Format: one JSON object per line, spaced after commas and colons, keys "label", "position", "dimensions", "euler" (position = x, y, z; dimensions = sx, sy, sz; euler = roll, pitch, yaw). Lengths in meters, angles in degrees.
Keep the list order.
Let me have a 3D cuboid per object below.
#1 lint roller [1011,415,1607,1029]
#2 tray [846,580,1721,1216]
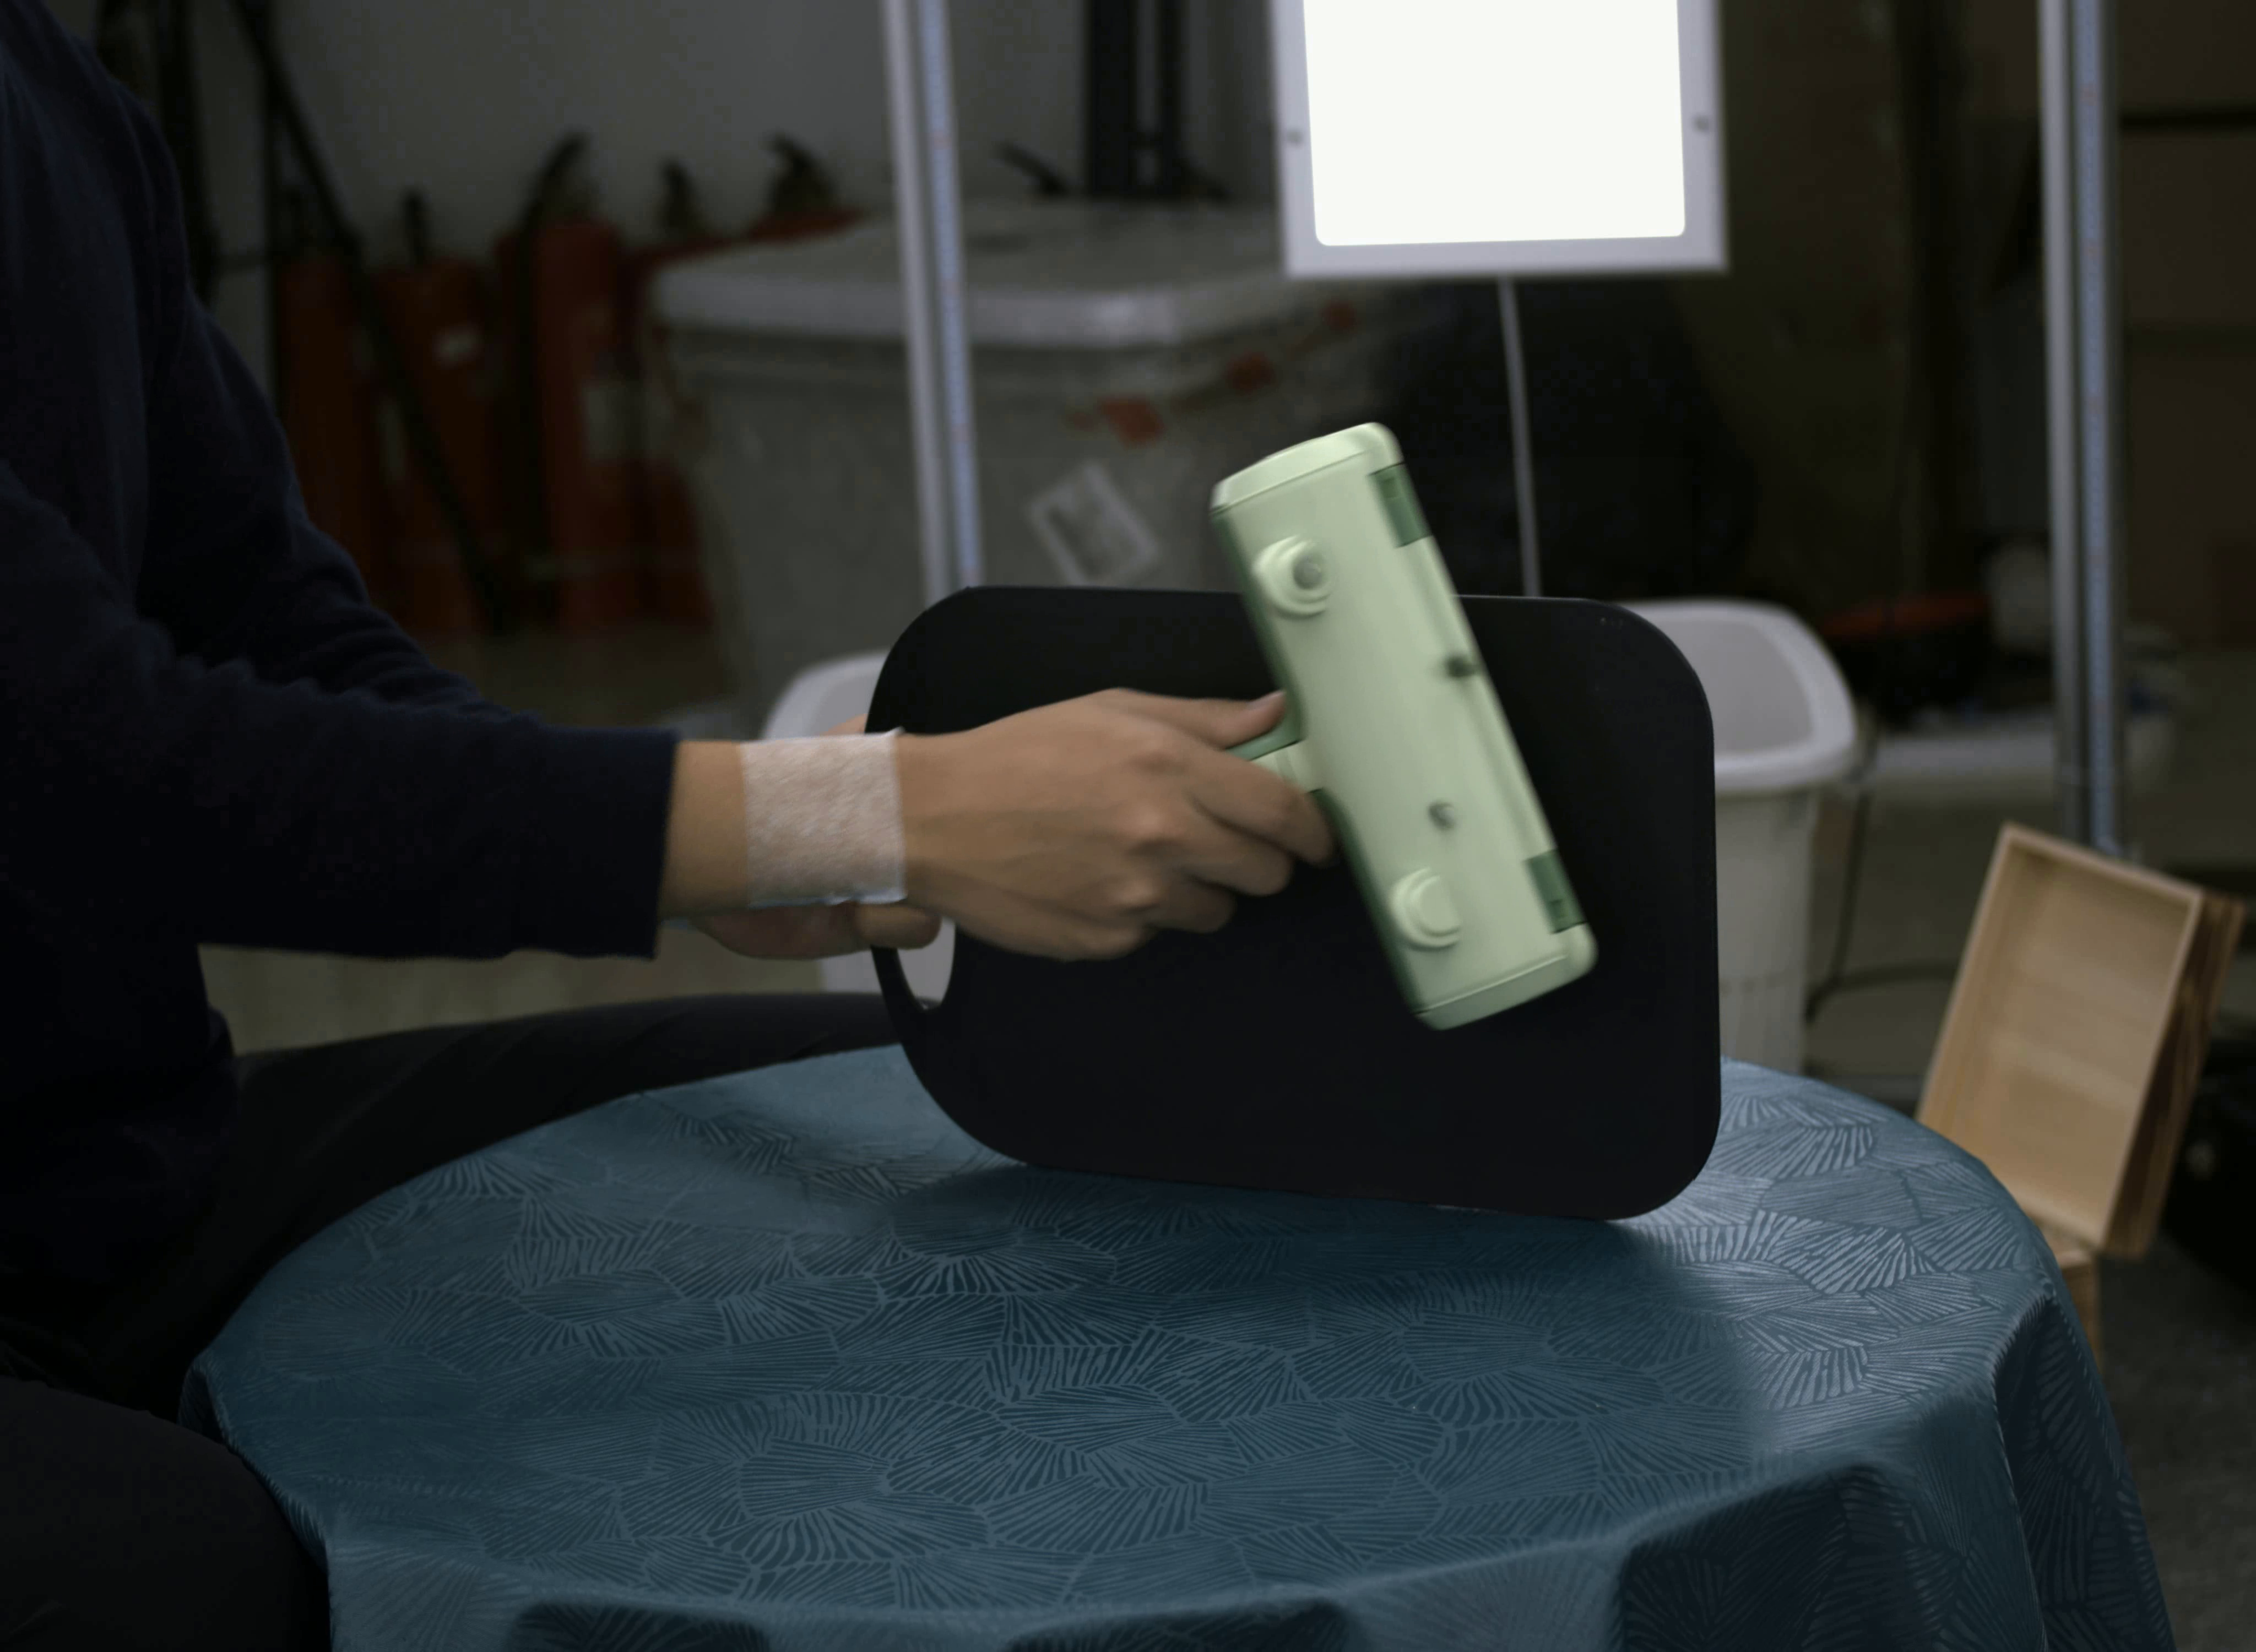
{"label": "lint roller", "position": [0.039, -0.012, 1.794], "dimensions": [0.185, 0.199, 0.081], "euler": [-22, -2, 13]}
{"label": "tray", "position": [0.047, 0.021, 1.860], "dimensions": [0.331, 0.212, 0.009], "euler": [2, 11, 29]}
